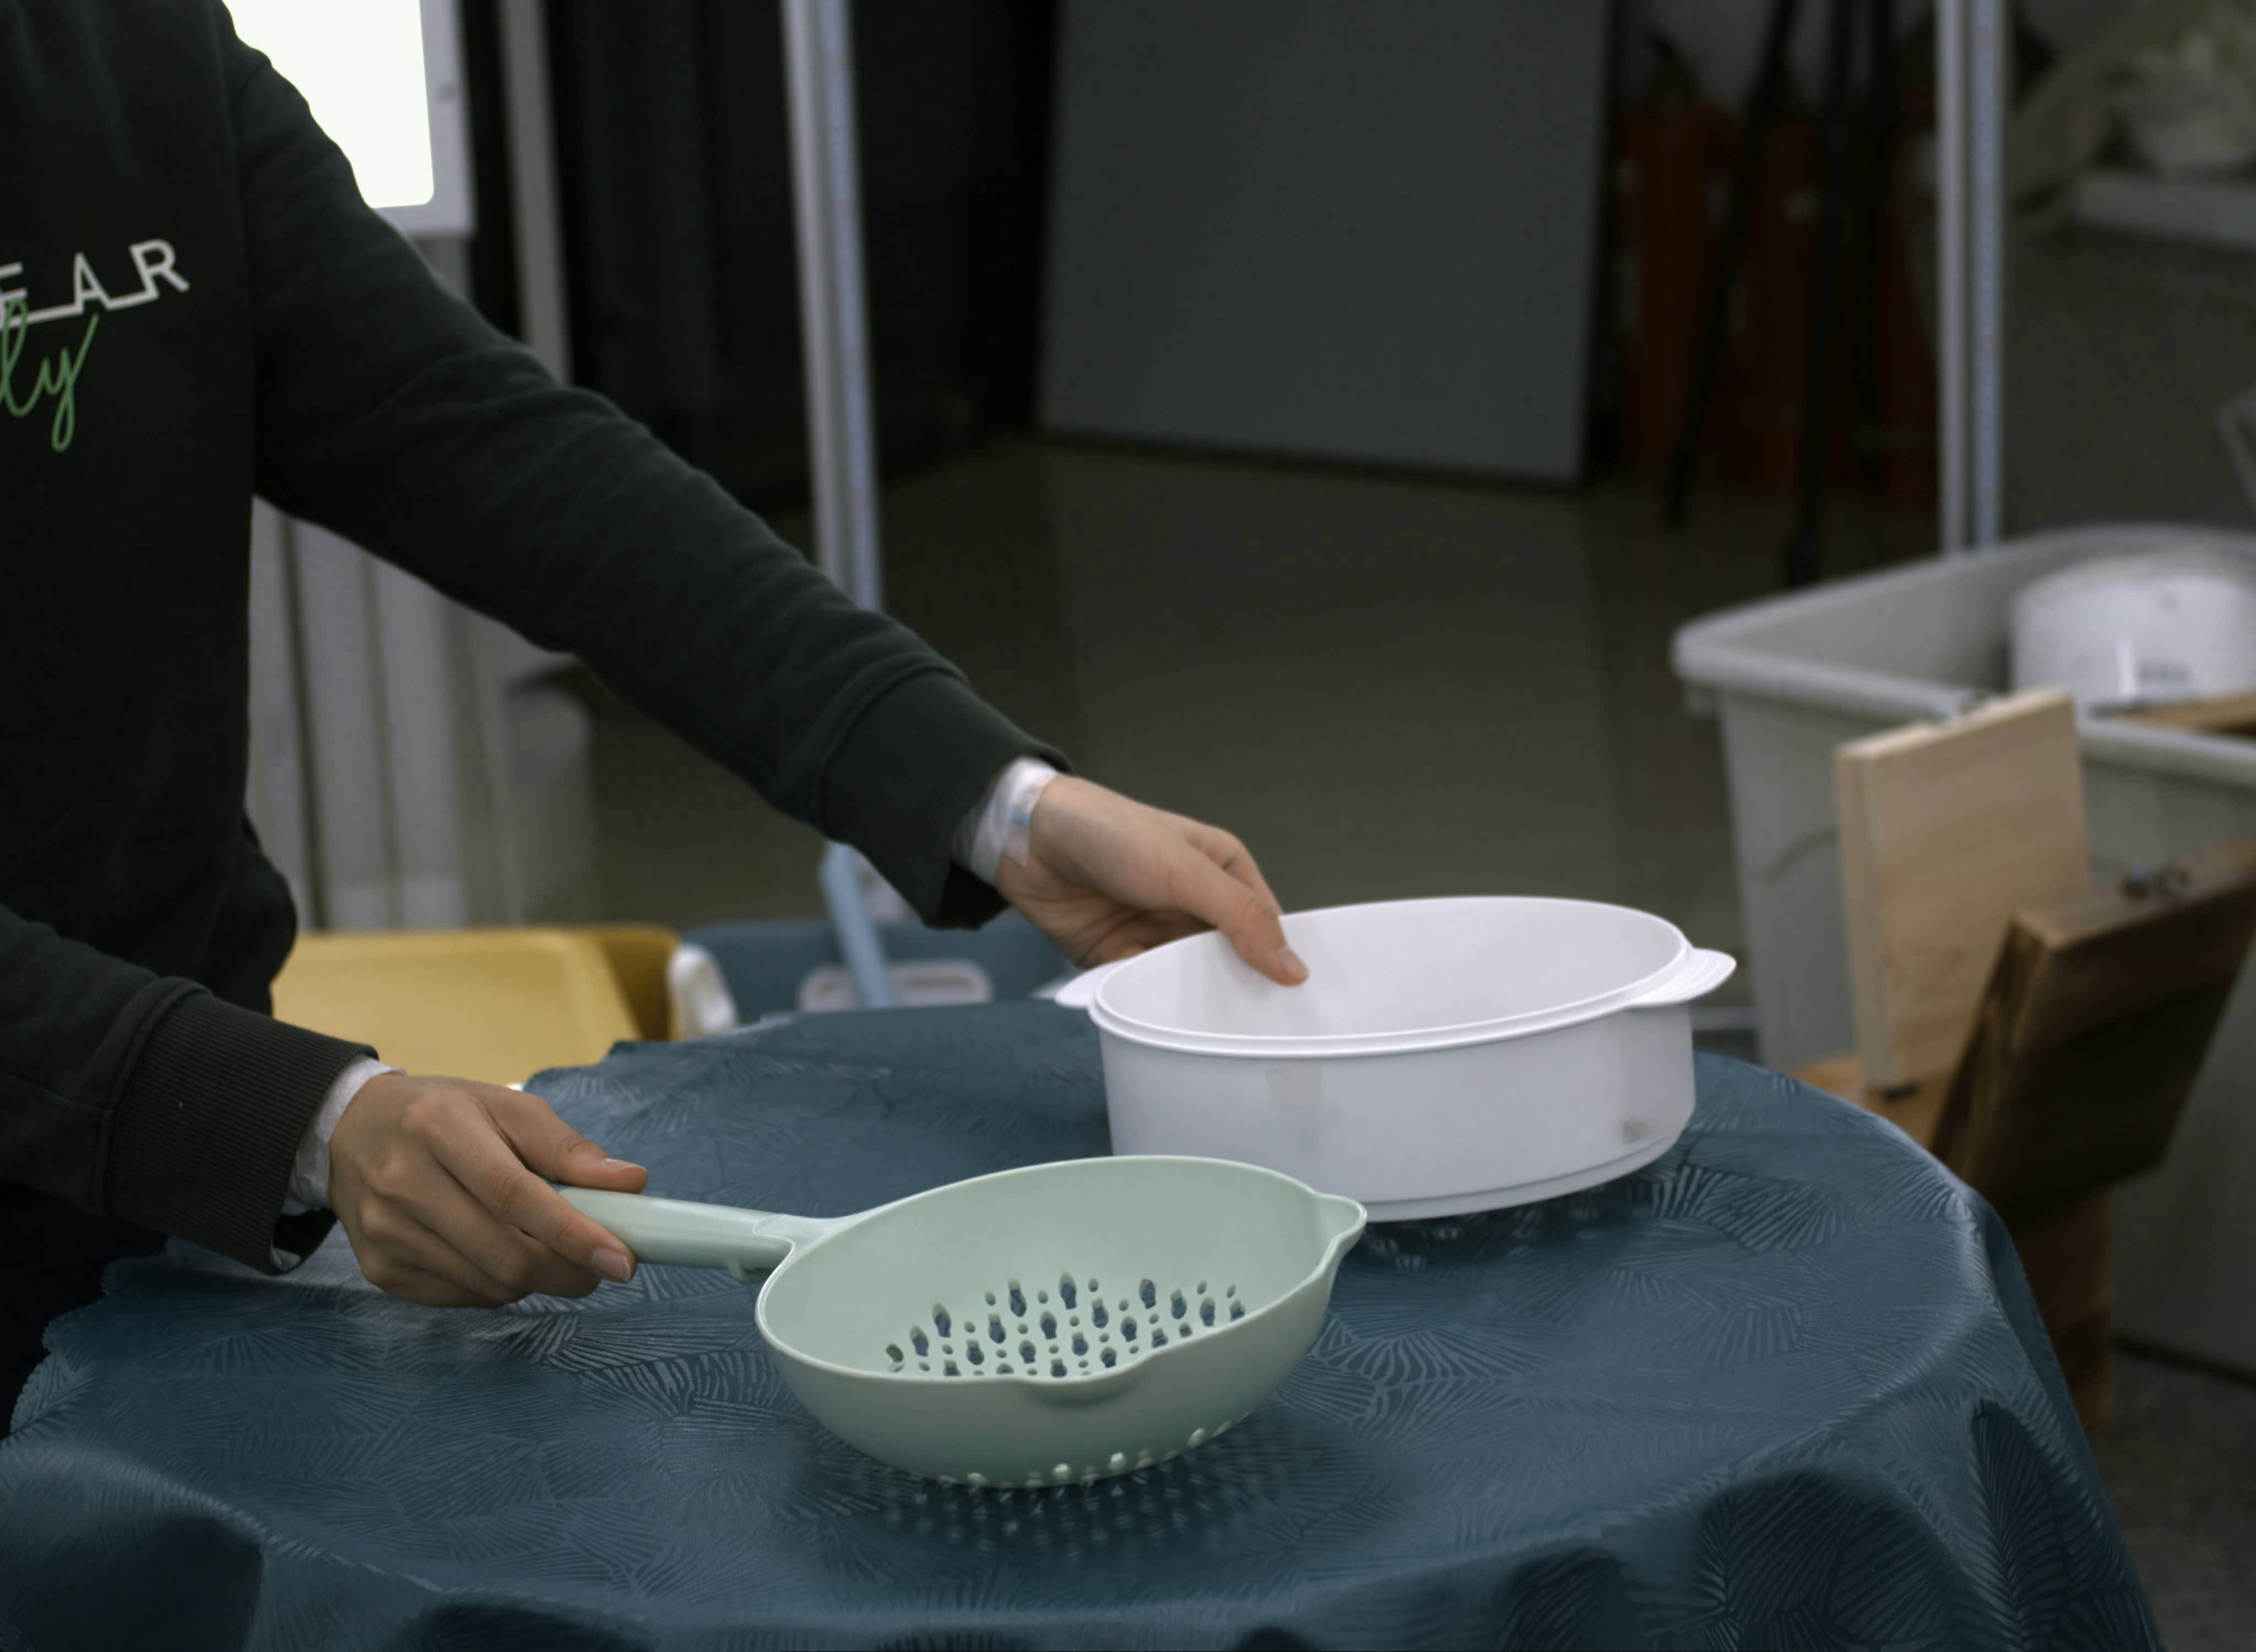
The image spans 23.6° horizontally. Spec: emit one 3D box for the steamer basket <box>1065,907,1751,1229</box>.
[{"bbox_3d":[0.093,0.079,1.761,0.230,0.070,0.199,-3,10,23],"label":"steamer basket"}]

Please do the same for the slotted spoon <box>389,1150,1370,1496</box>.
[{"bbox_3d":[-0.094,0.130,1.594,0.361,0.076,0.166,14,26,37],"label":"slotted spoon"}]
